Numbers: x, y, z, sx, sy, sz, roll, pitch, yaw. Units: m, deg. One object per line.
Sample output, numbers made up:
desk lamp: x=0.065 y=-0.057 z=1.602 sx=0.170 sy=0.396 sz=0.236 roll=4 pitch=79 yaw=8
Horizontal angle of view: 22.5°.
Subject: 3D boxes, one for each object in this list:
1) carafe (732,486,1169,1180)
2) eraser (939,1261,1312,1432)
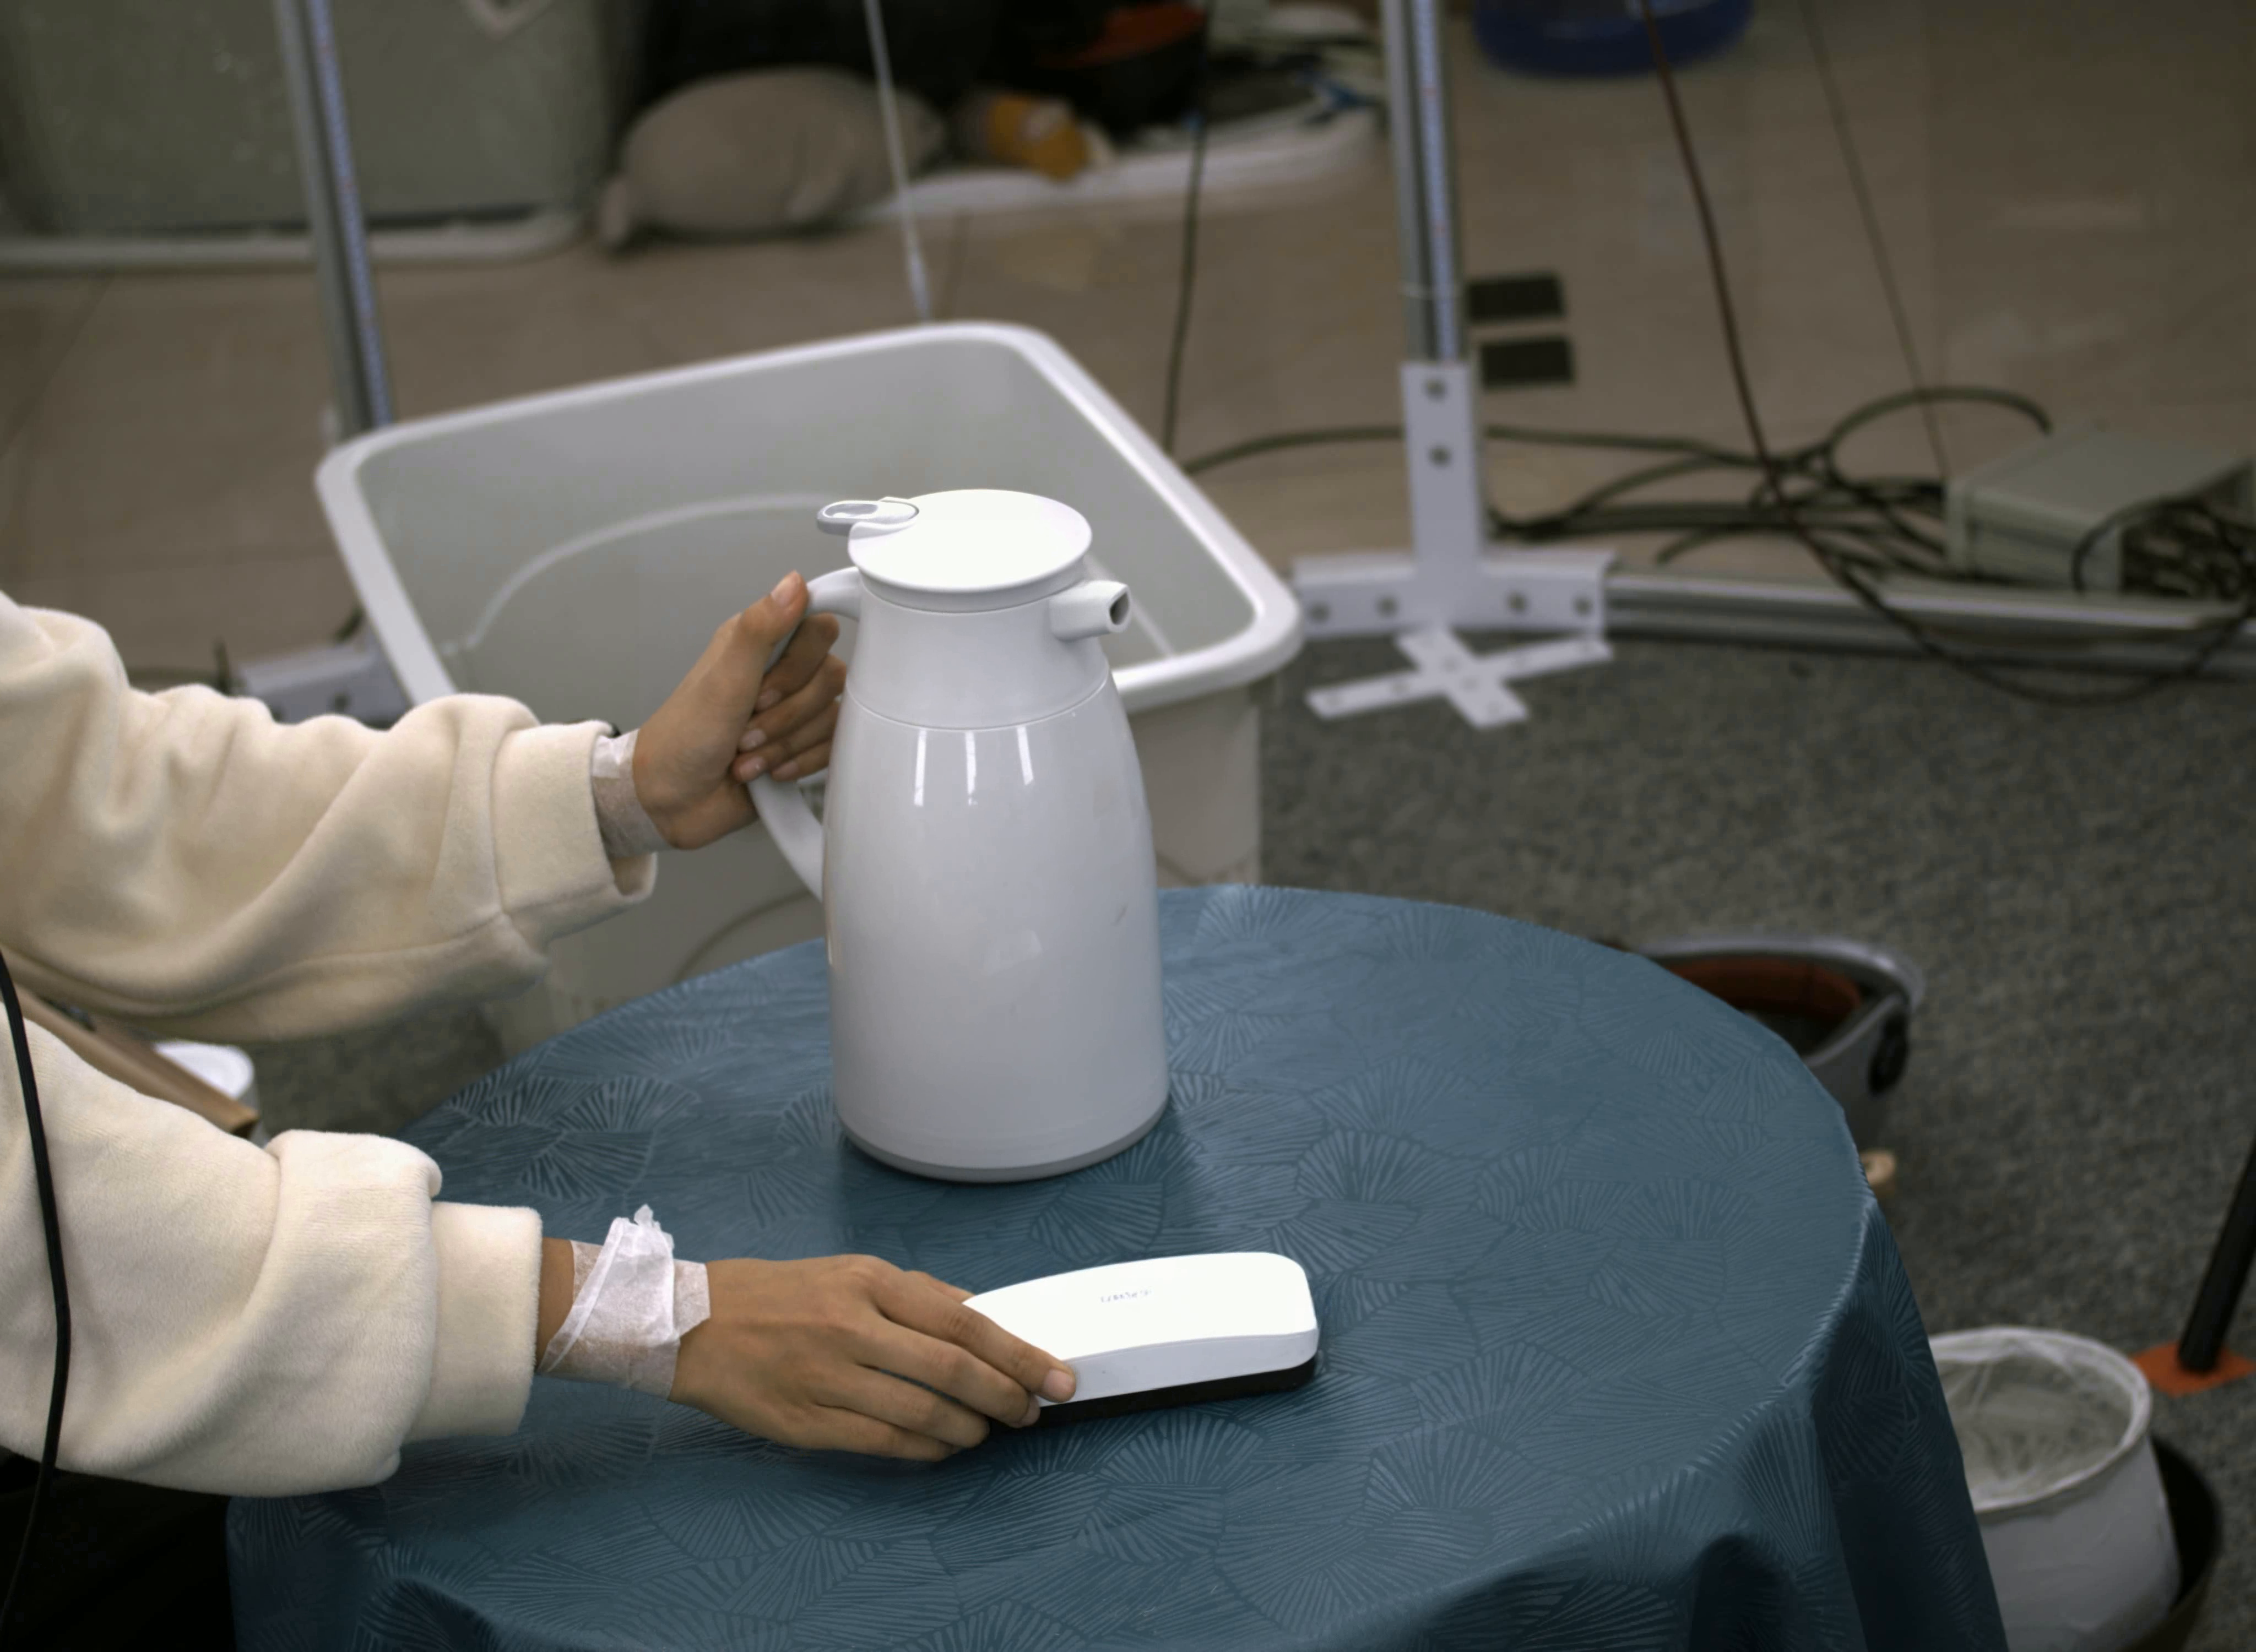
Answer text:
carafe: x=-0.072 y=-0.006 z=2.165 sx=0.167 sy=0.253 sz=0.131 roll=9 pitch=30 yaw=23
eraser: x=-0.001 y=0.182 z=2.018 sx=0.131 sy=0.035 sz=0.062 roll=-7 pitch=23 yaw=-3
